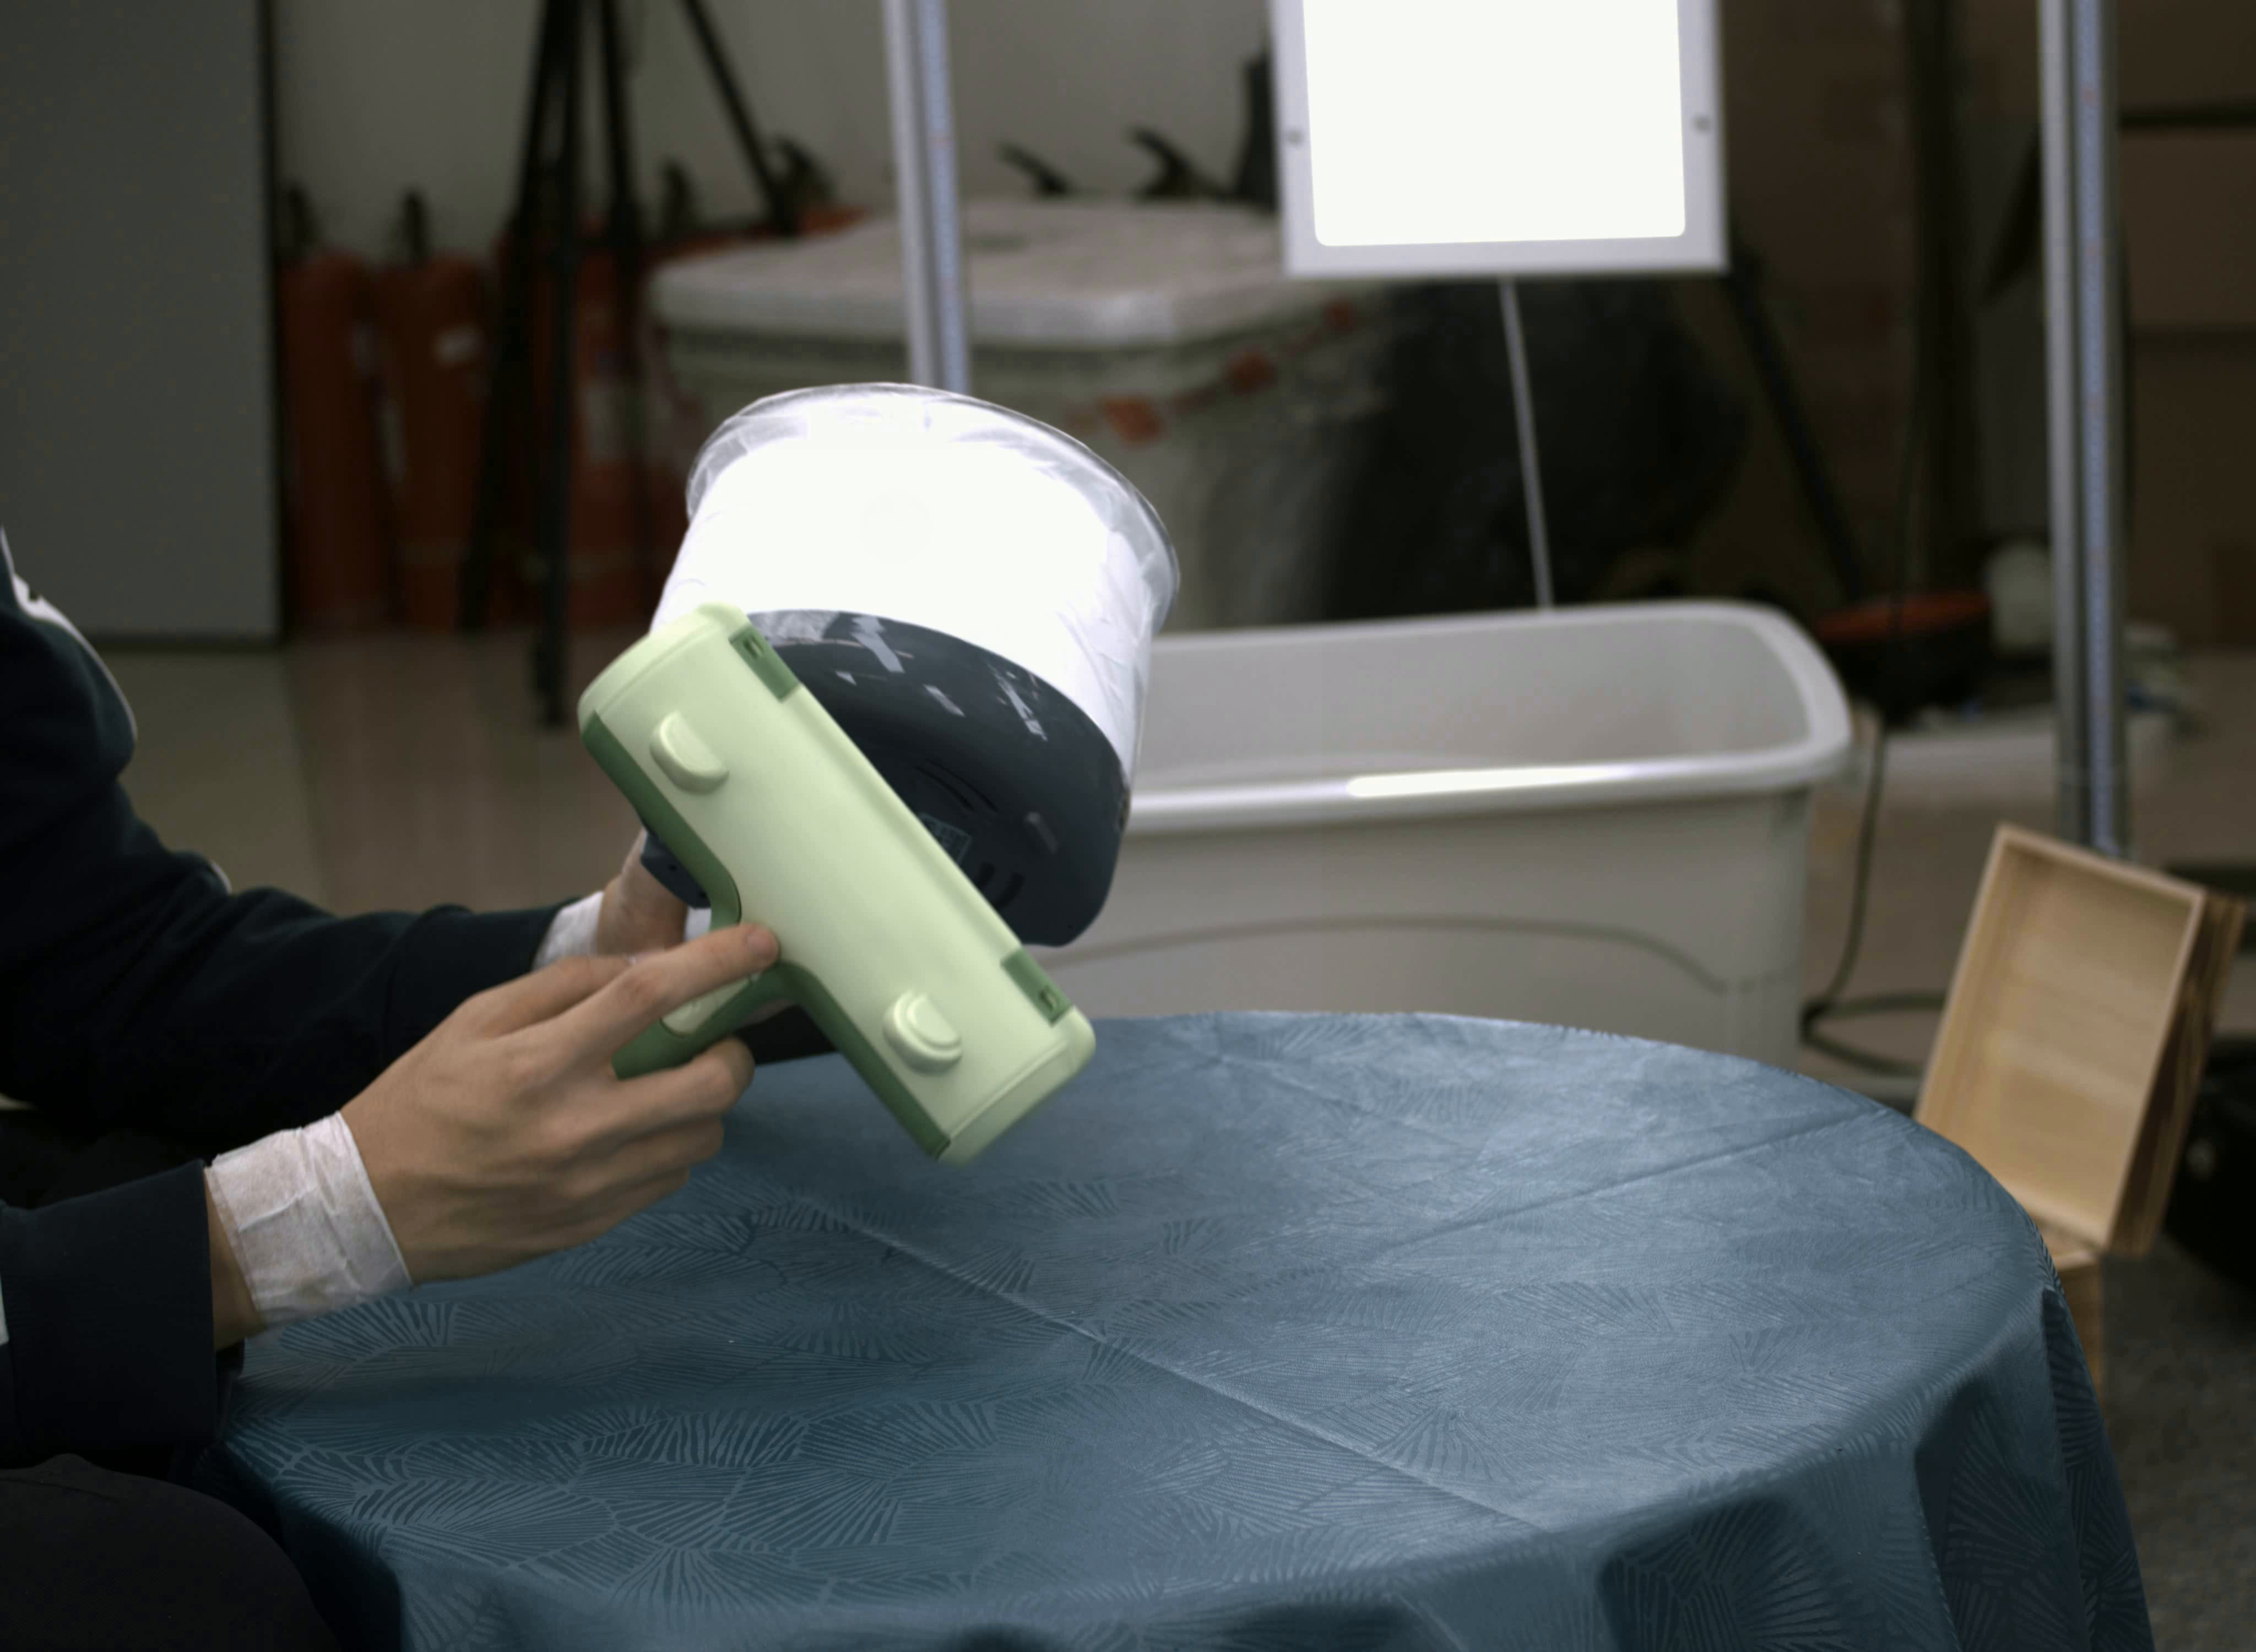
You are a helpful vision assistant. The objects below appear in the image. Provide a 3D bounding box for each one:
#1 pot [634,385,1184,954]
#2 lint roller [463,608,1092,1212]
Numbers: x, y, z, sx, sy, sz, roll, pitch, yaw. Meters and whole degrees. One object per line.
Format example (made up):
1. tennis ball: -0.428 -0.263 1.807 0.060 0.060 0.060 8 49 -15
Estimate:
1. pot: -0.090 -0.035 1.921 0.176 0.135 0.238 23 -33 -15
2. lint roller: -0.139 0.058 1.743 0.182 0.199 0.082 -39 -8 -5
